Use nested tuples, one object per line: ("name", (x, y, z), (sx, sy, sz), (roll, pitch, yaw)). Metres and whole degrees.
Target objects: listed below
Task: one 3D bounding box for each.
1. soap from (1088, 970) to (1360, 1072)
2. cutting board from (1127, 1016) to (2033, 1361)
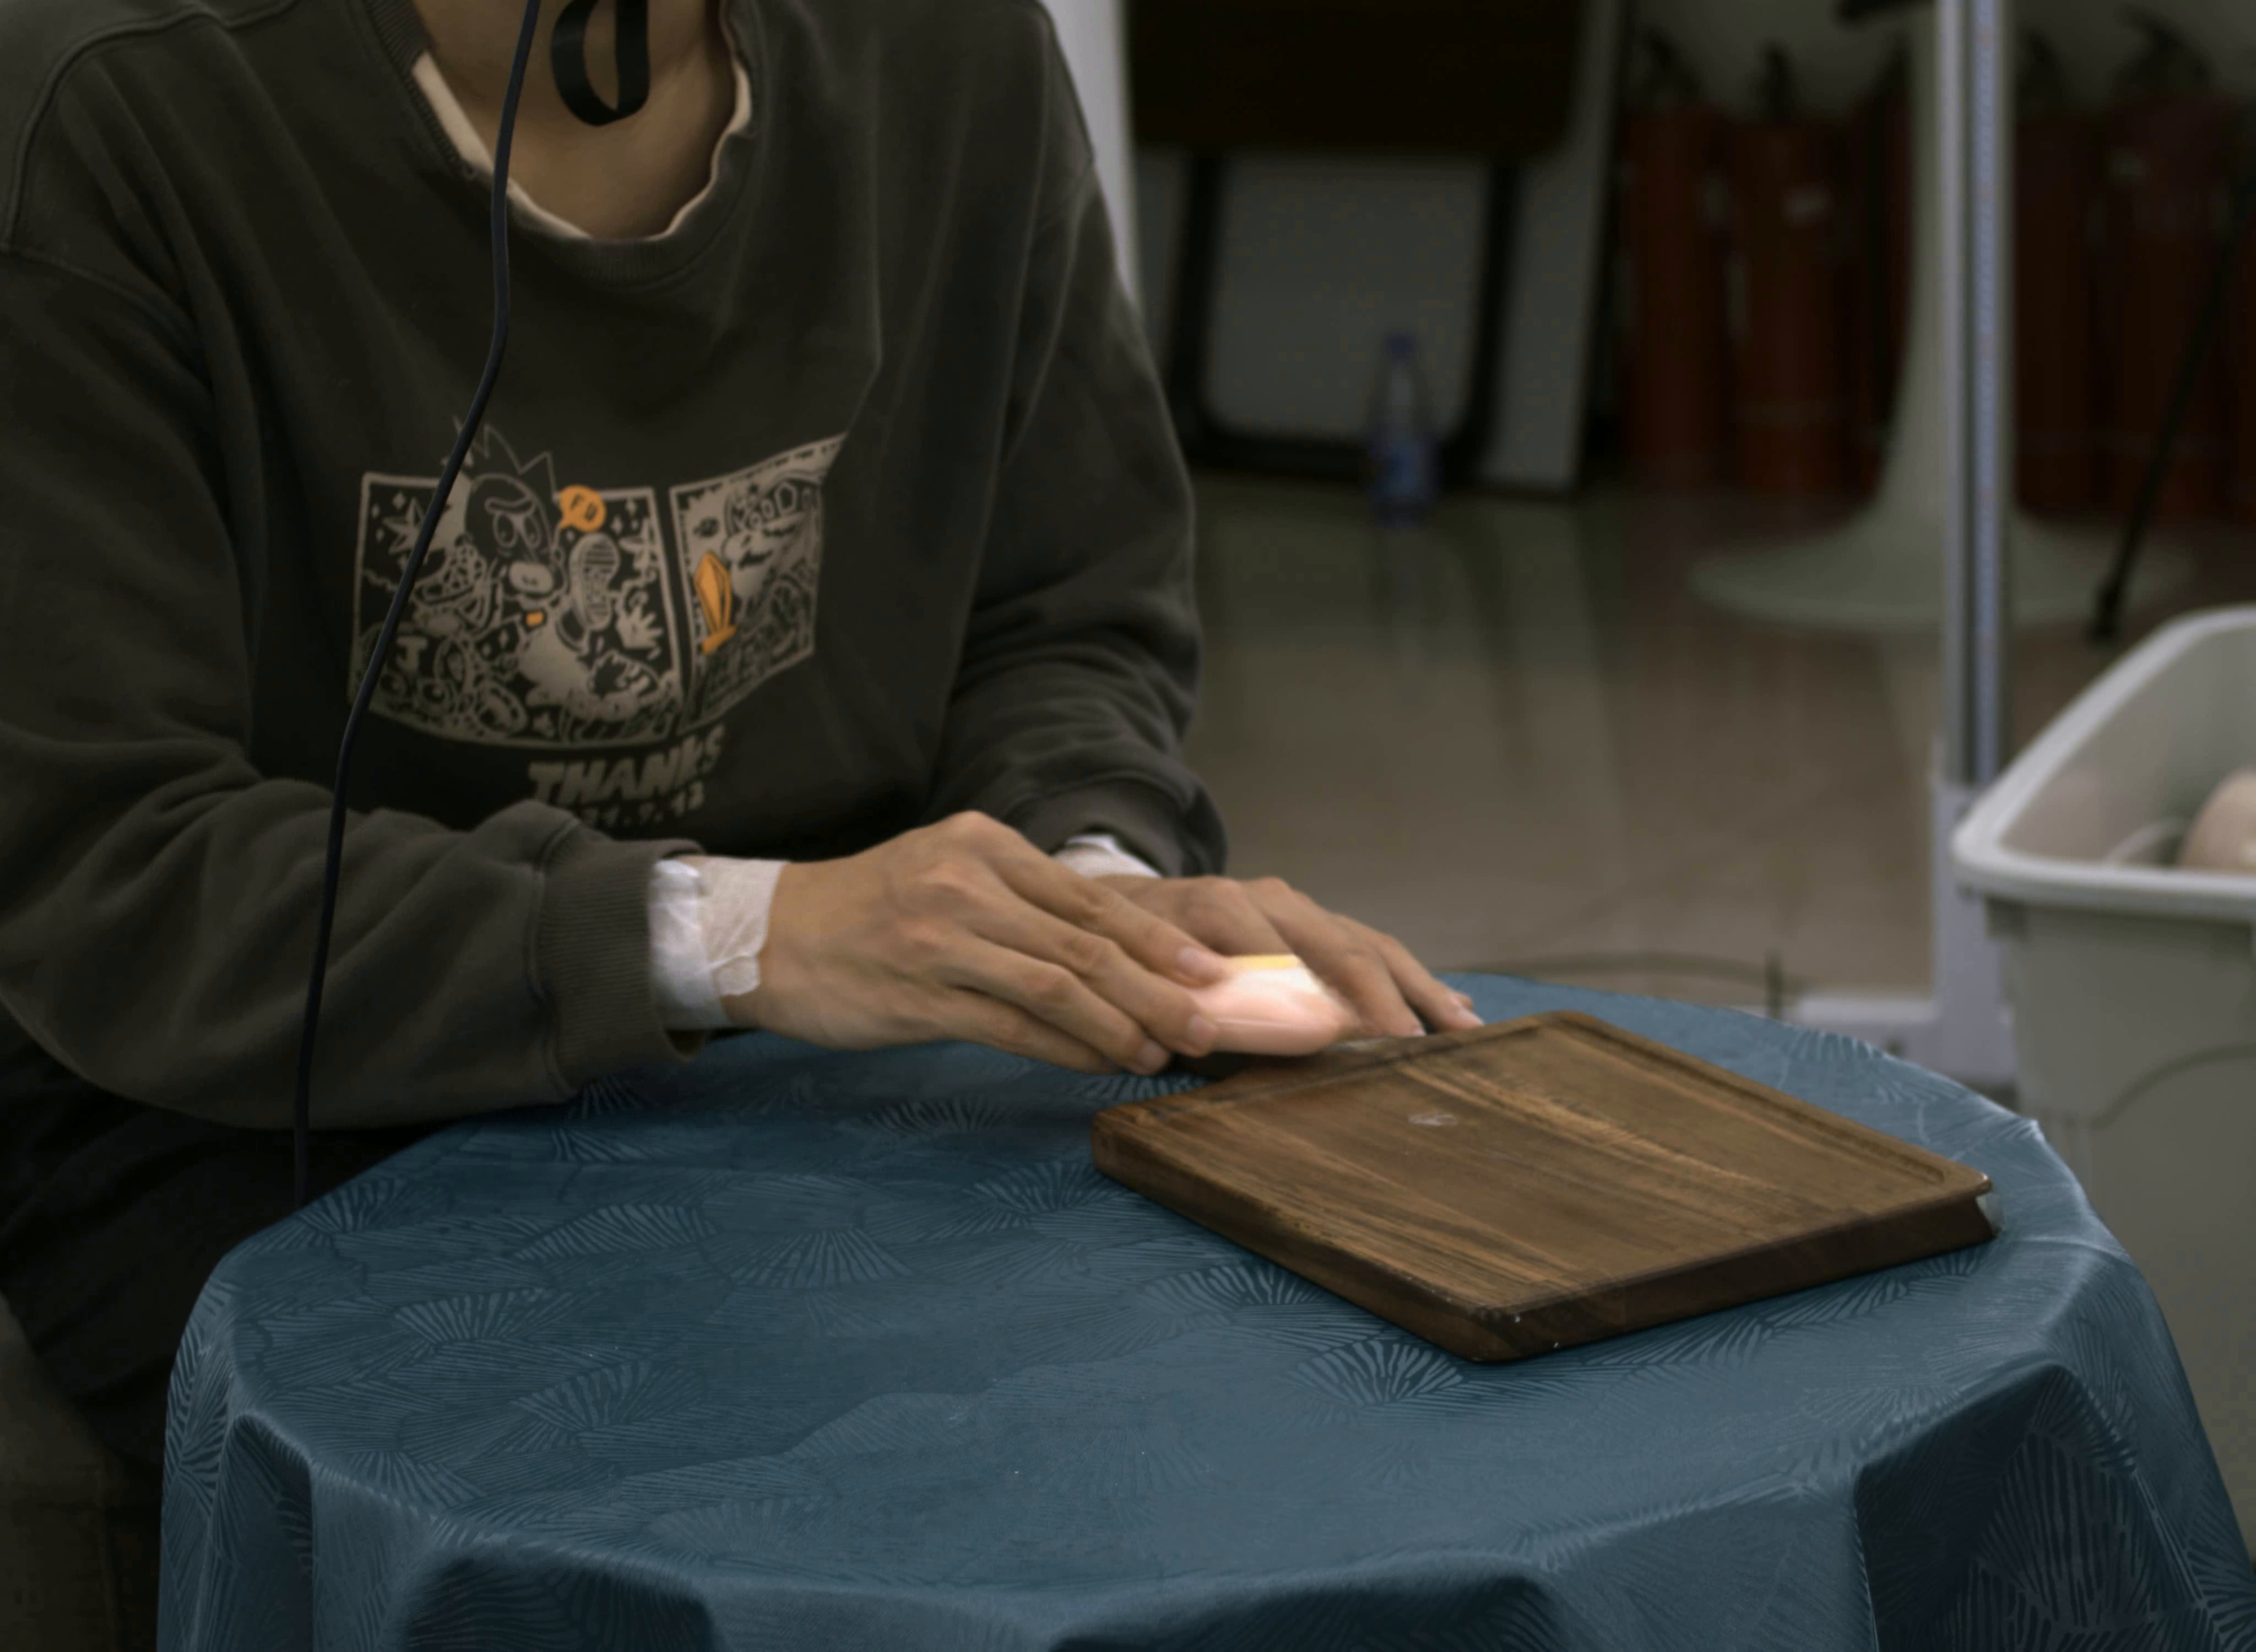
("soap", (0.033, 0.067, 1.839), (0.093, 0.031, 0.050), (-1, 13, 1))
("cutting board", (0.118, 0.103, 1.774), (0.197, 0.023, 0.356), (-11, 15, -25))
